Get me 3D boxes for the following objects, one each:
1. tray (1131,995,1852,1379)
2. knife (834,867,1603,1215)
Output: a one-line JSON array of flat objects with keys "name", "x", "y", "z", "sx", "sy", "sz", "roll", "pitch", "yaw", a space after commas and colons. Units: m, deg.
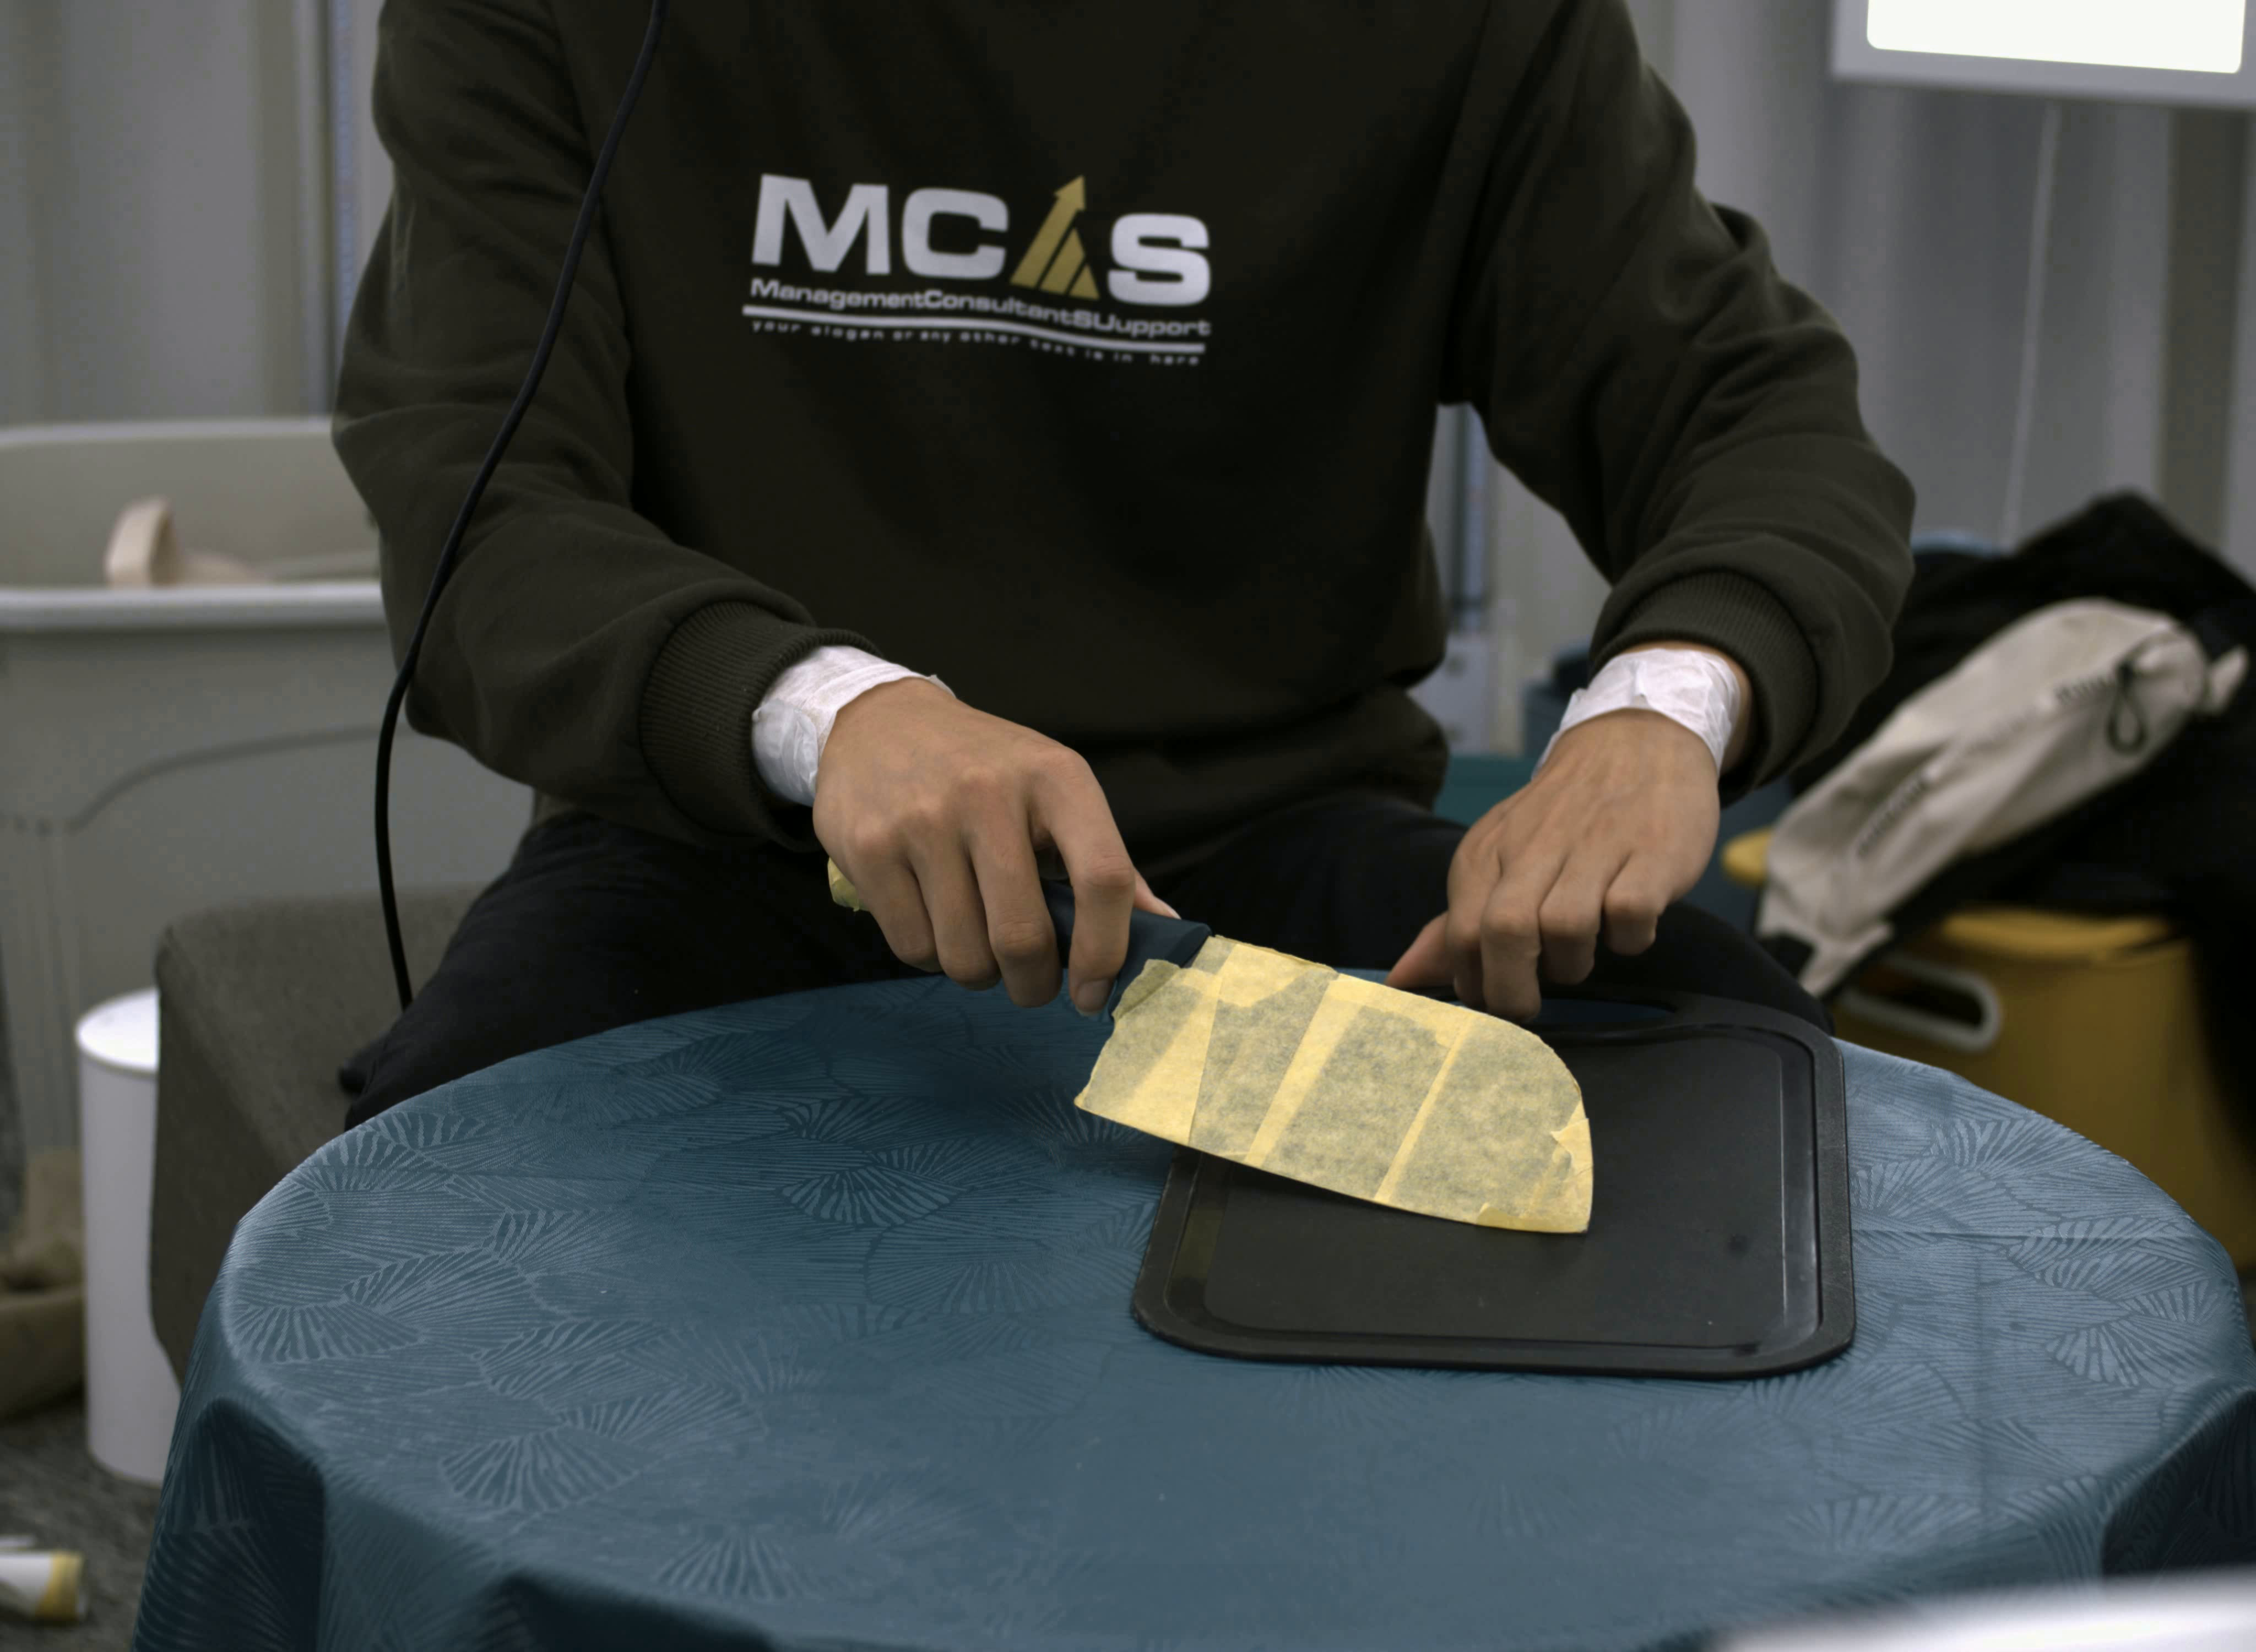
[{"name": "tray", "x": 0.117, "y": 0.104, "z": 1.631, "sx": 0.210, "sy": 0.010, "sz": 0.324, "roll": 2, "pitch": 17, "yaw": 6}, {"name": "knife", "x": 0.021, "y": 0.065, "z": 1.647, "sx": 0.286, "sy": 0.027, "sz": 0.081, "roll": 18, "pitch": 60, "yaw": 28}]
